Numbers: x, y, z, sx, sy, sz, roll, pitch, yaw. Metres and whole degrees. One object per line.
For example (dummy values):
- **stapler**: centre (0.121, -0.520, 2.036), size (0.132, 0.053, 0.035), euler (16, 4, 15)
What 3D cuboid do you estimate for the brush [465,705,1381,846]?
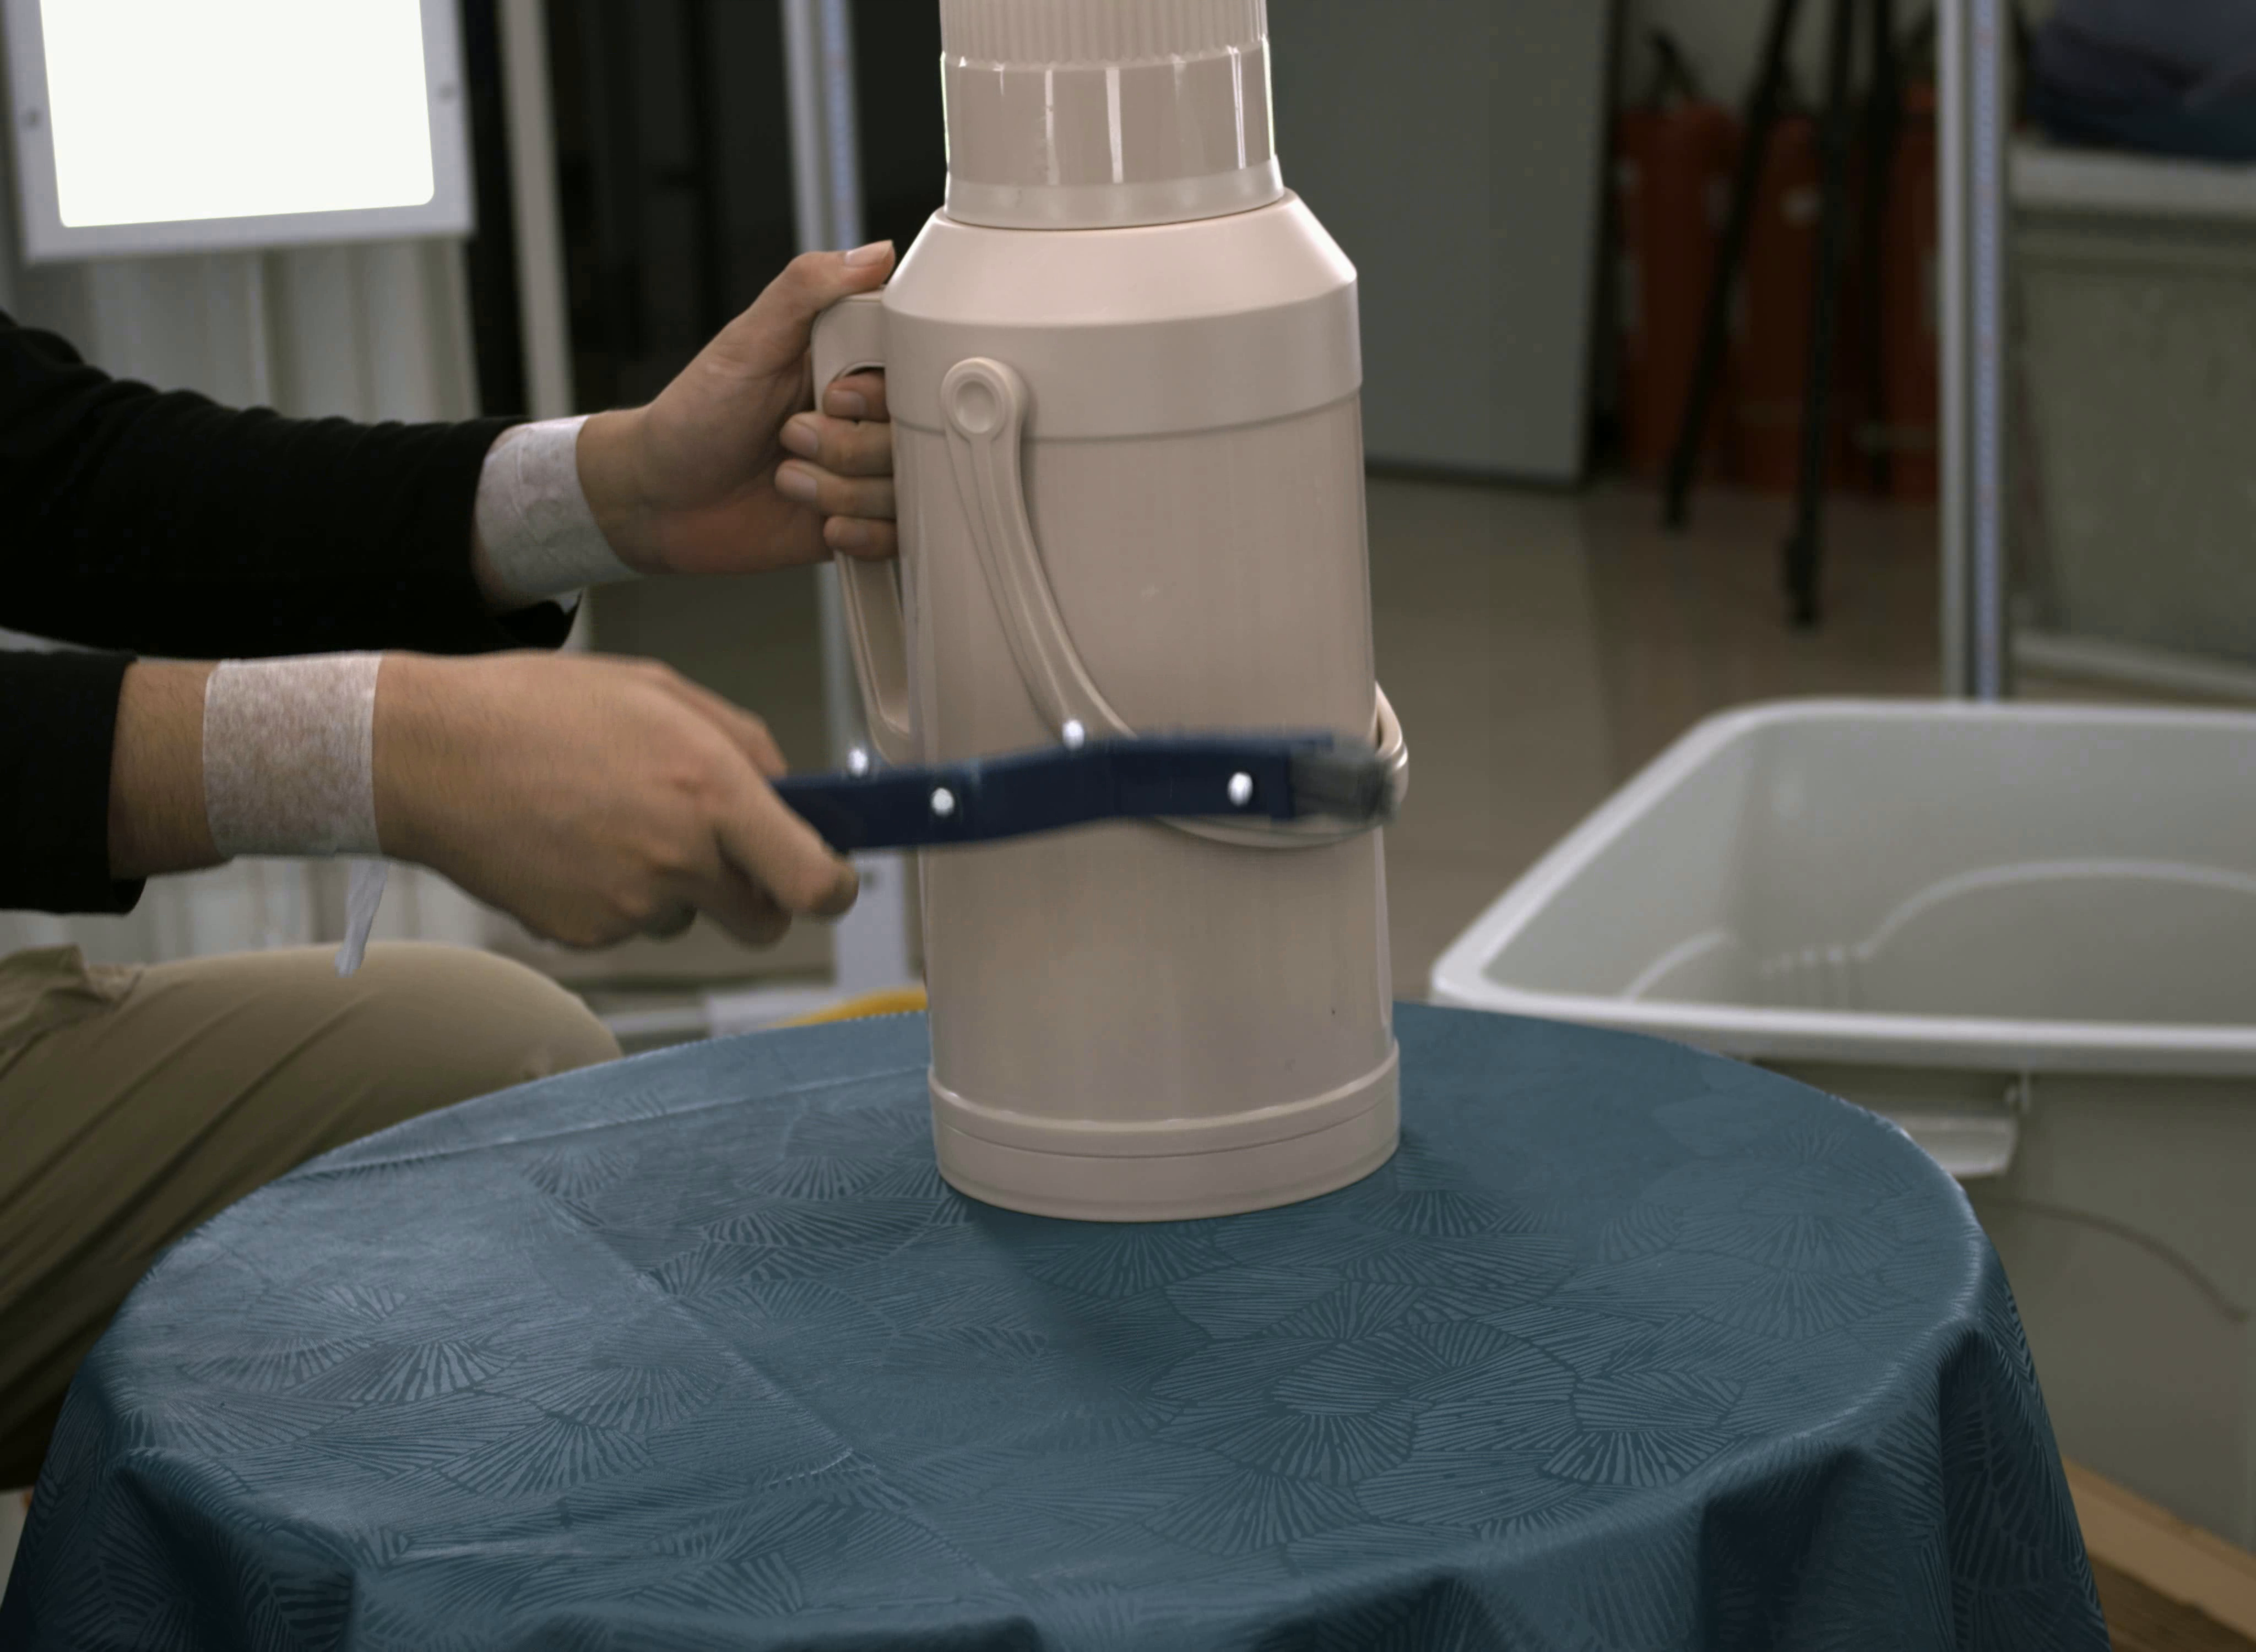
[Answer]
- **brush**: centre (-0.063, -0.015, 1.593), size (0.270, 0.034, 0.096), euler (-6, 15, 2)

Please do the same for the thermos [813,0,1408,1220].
- **thermos**: centre (-0.009, -0.086, 1.778), size (0.208, 0.410, 0.172), euler (5, 17, 32)
